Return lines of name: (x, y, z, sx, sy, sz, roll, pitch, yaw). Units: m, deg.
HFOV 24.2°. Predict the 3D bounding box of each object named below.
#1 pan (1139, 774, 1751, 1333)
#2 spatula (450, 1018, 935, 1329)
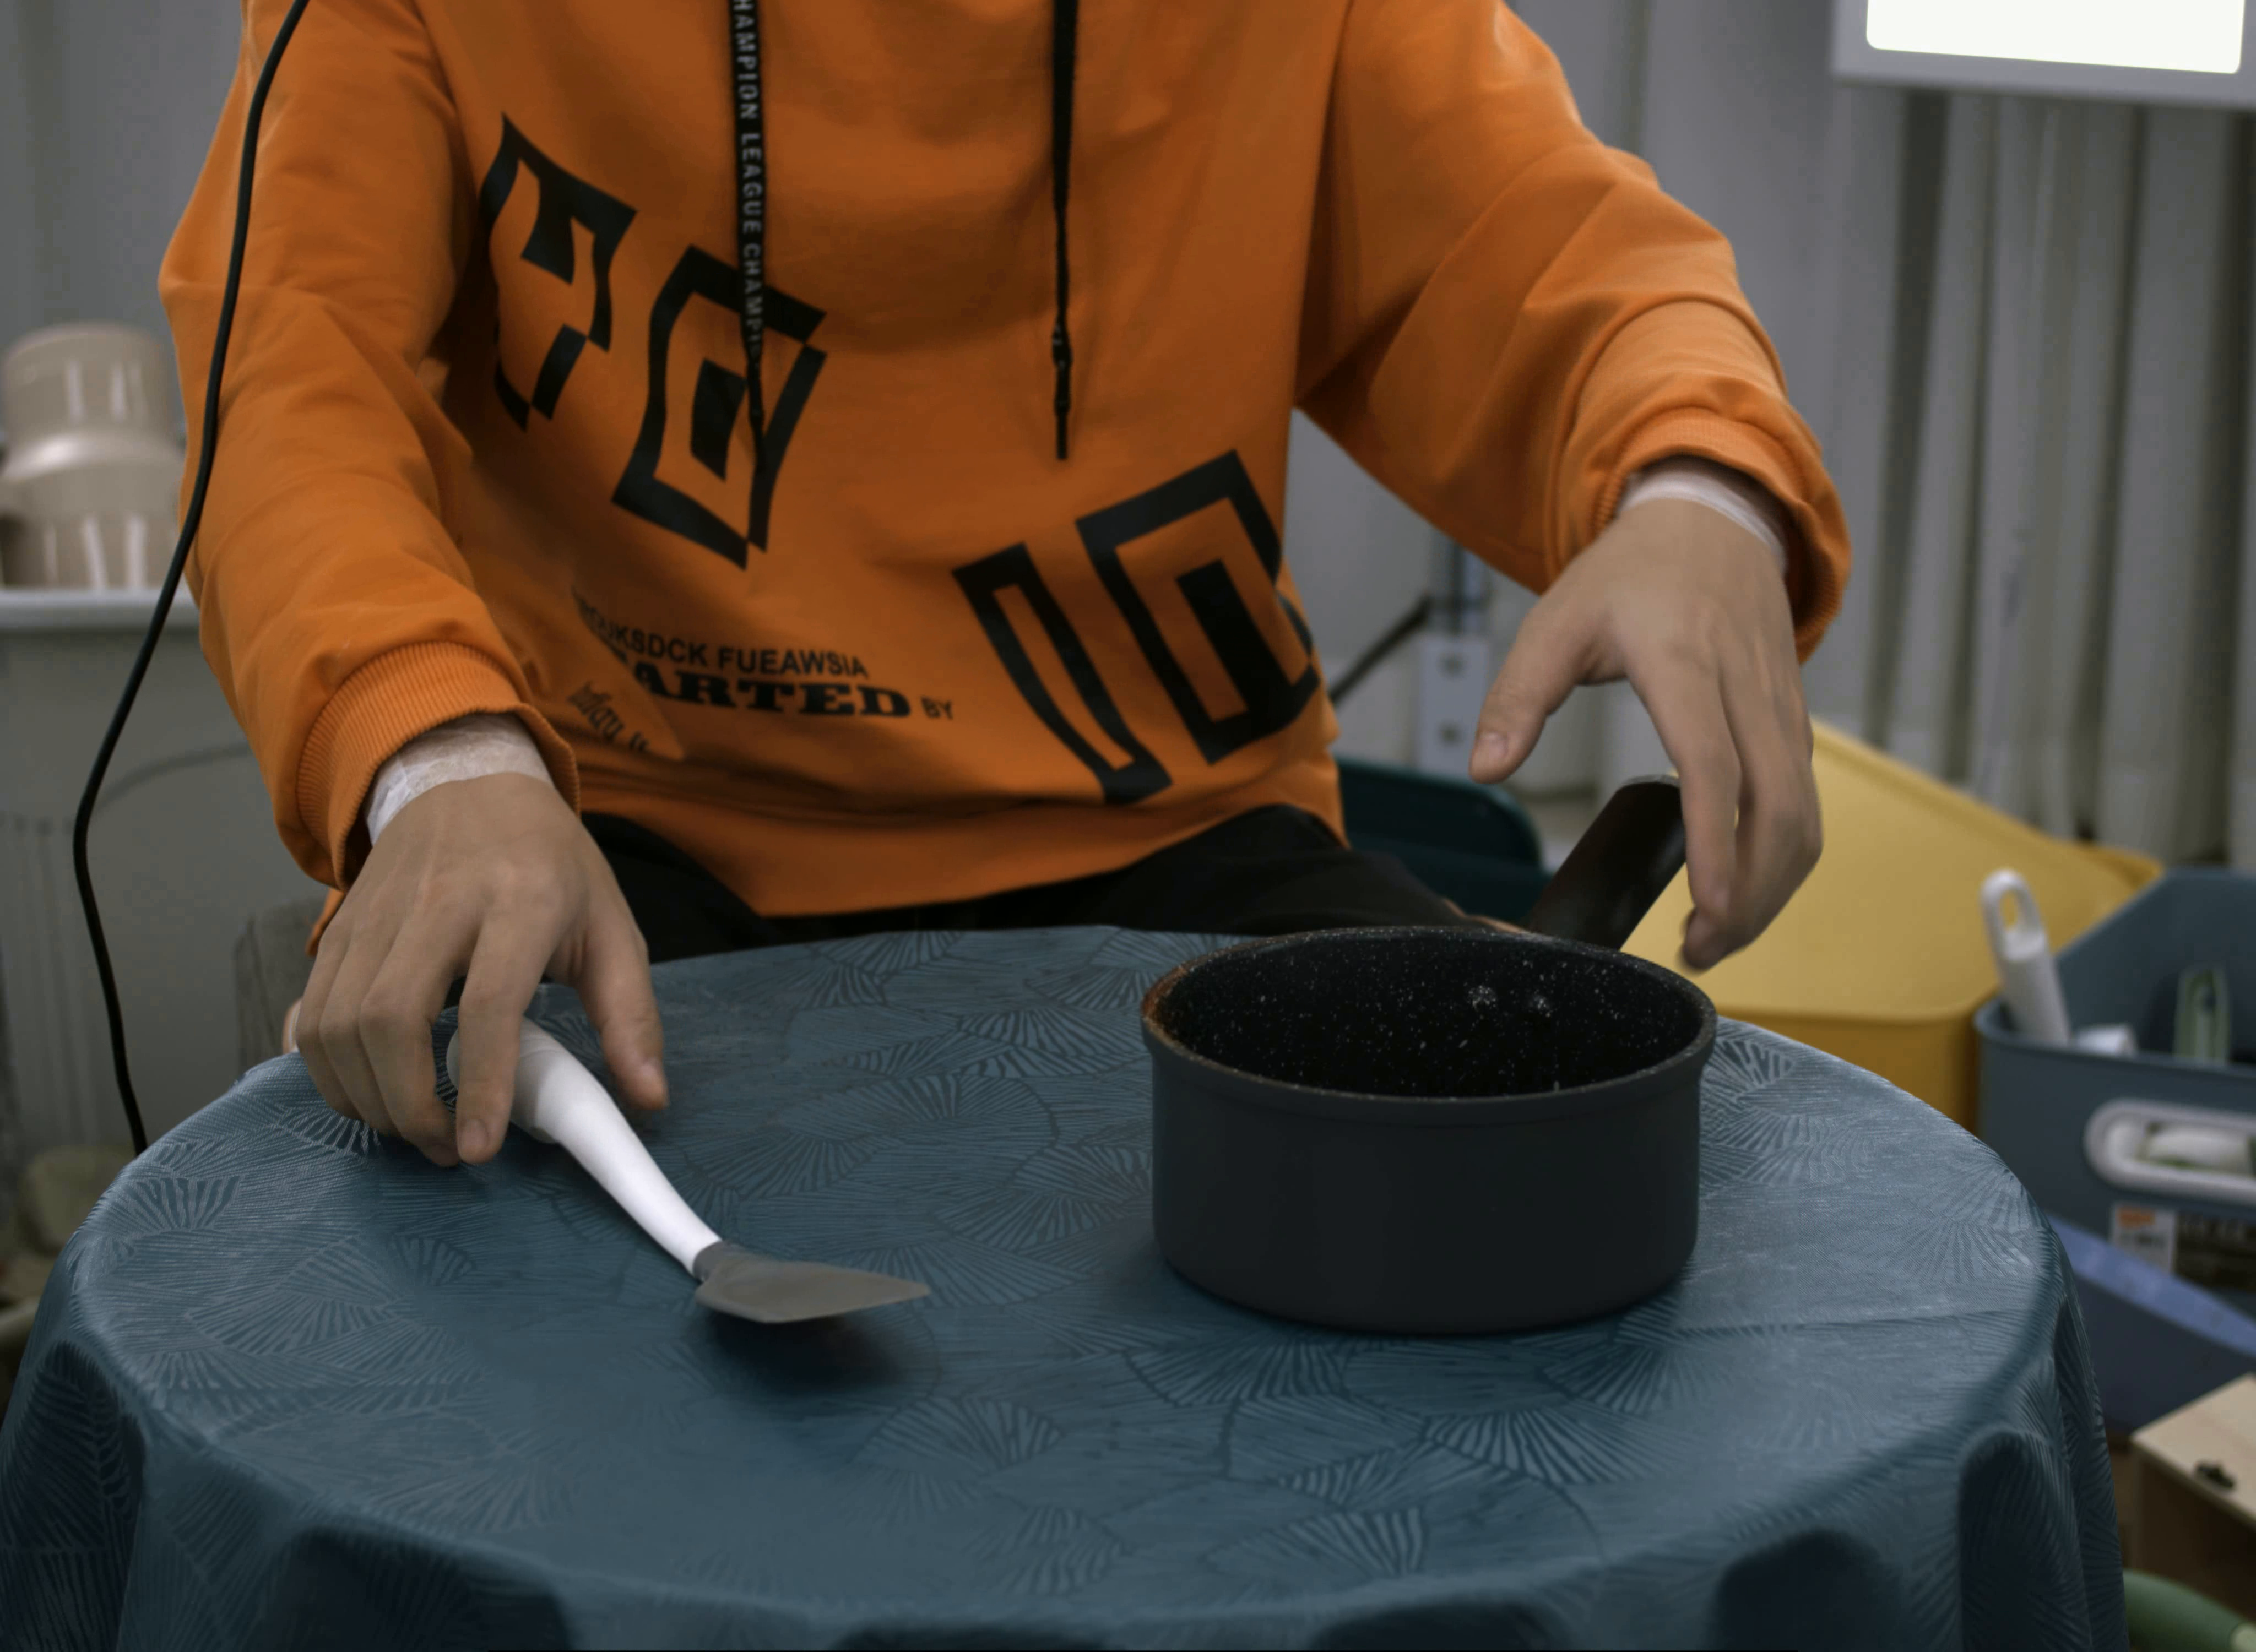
pan: (0.122, 0.066, 1.634, 0.170, 0.087, 0.329, 8, 19, 23)
spatula: (-0.139, 0.109, 1.571, 0.059, 0.032, 0.284, -3, 15, -27)
